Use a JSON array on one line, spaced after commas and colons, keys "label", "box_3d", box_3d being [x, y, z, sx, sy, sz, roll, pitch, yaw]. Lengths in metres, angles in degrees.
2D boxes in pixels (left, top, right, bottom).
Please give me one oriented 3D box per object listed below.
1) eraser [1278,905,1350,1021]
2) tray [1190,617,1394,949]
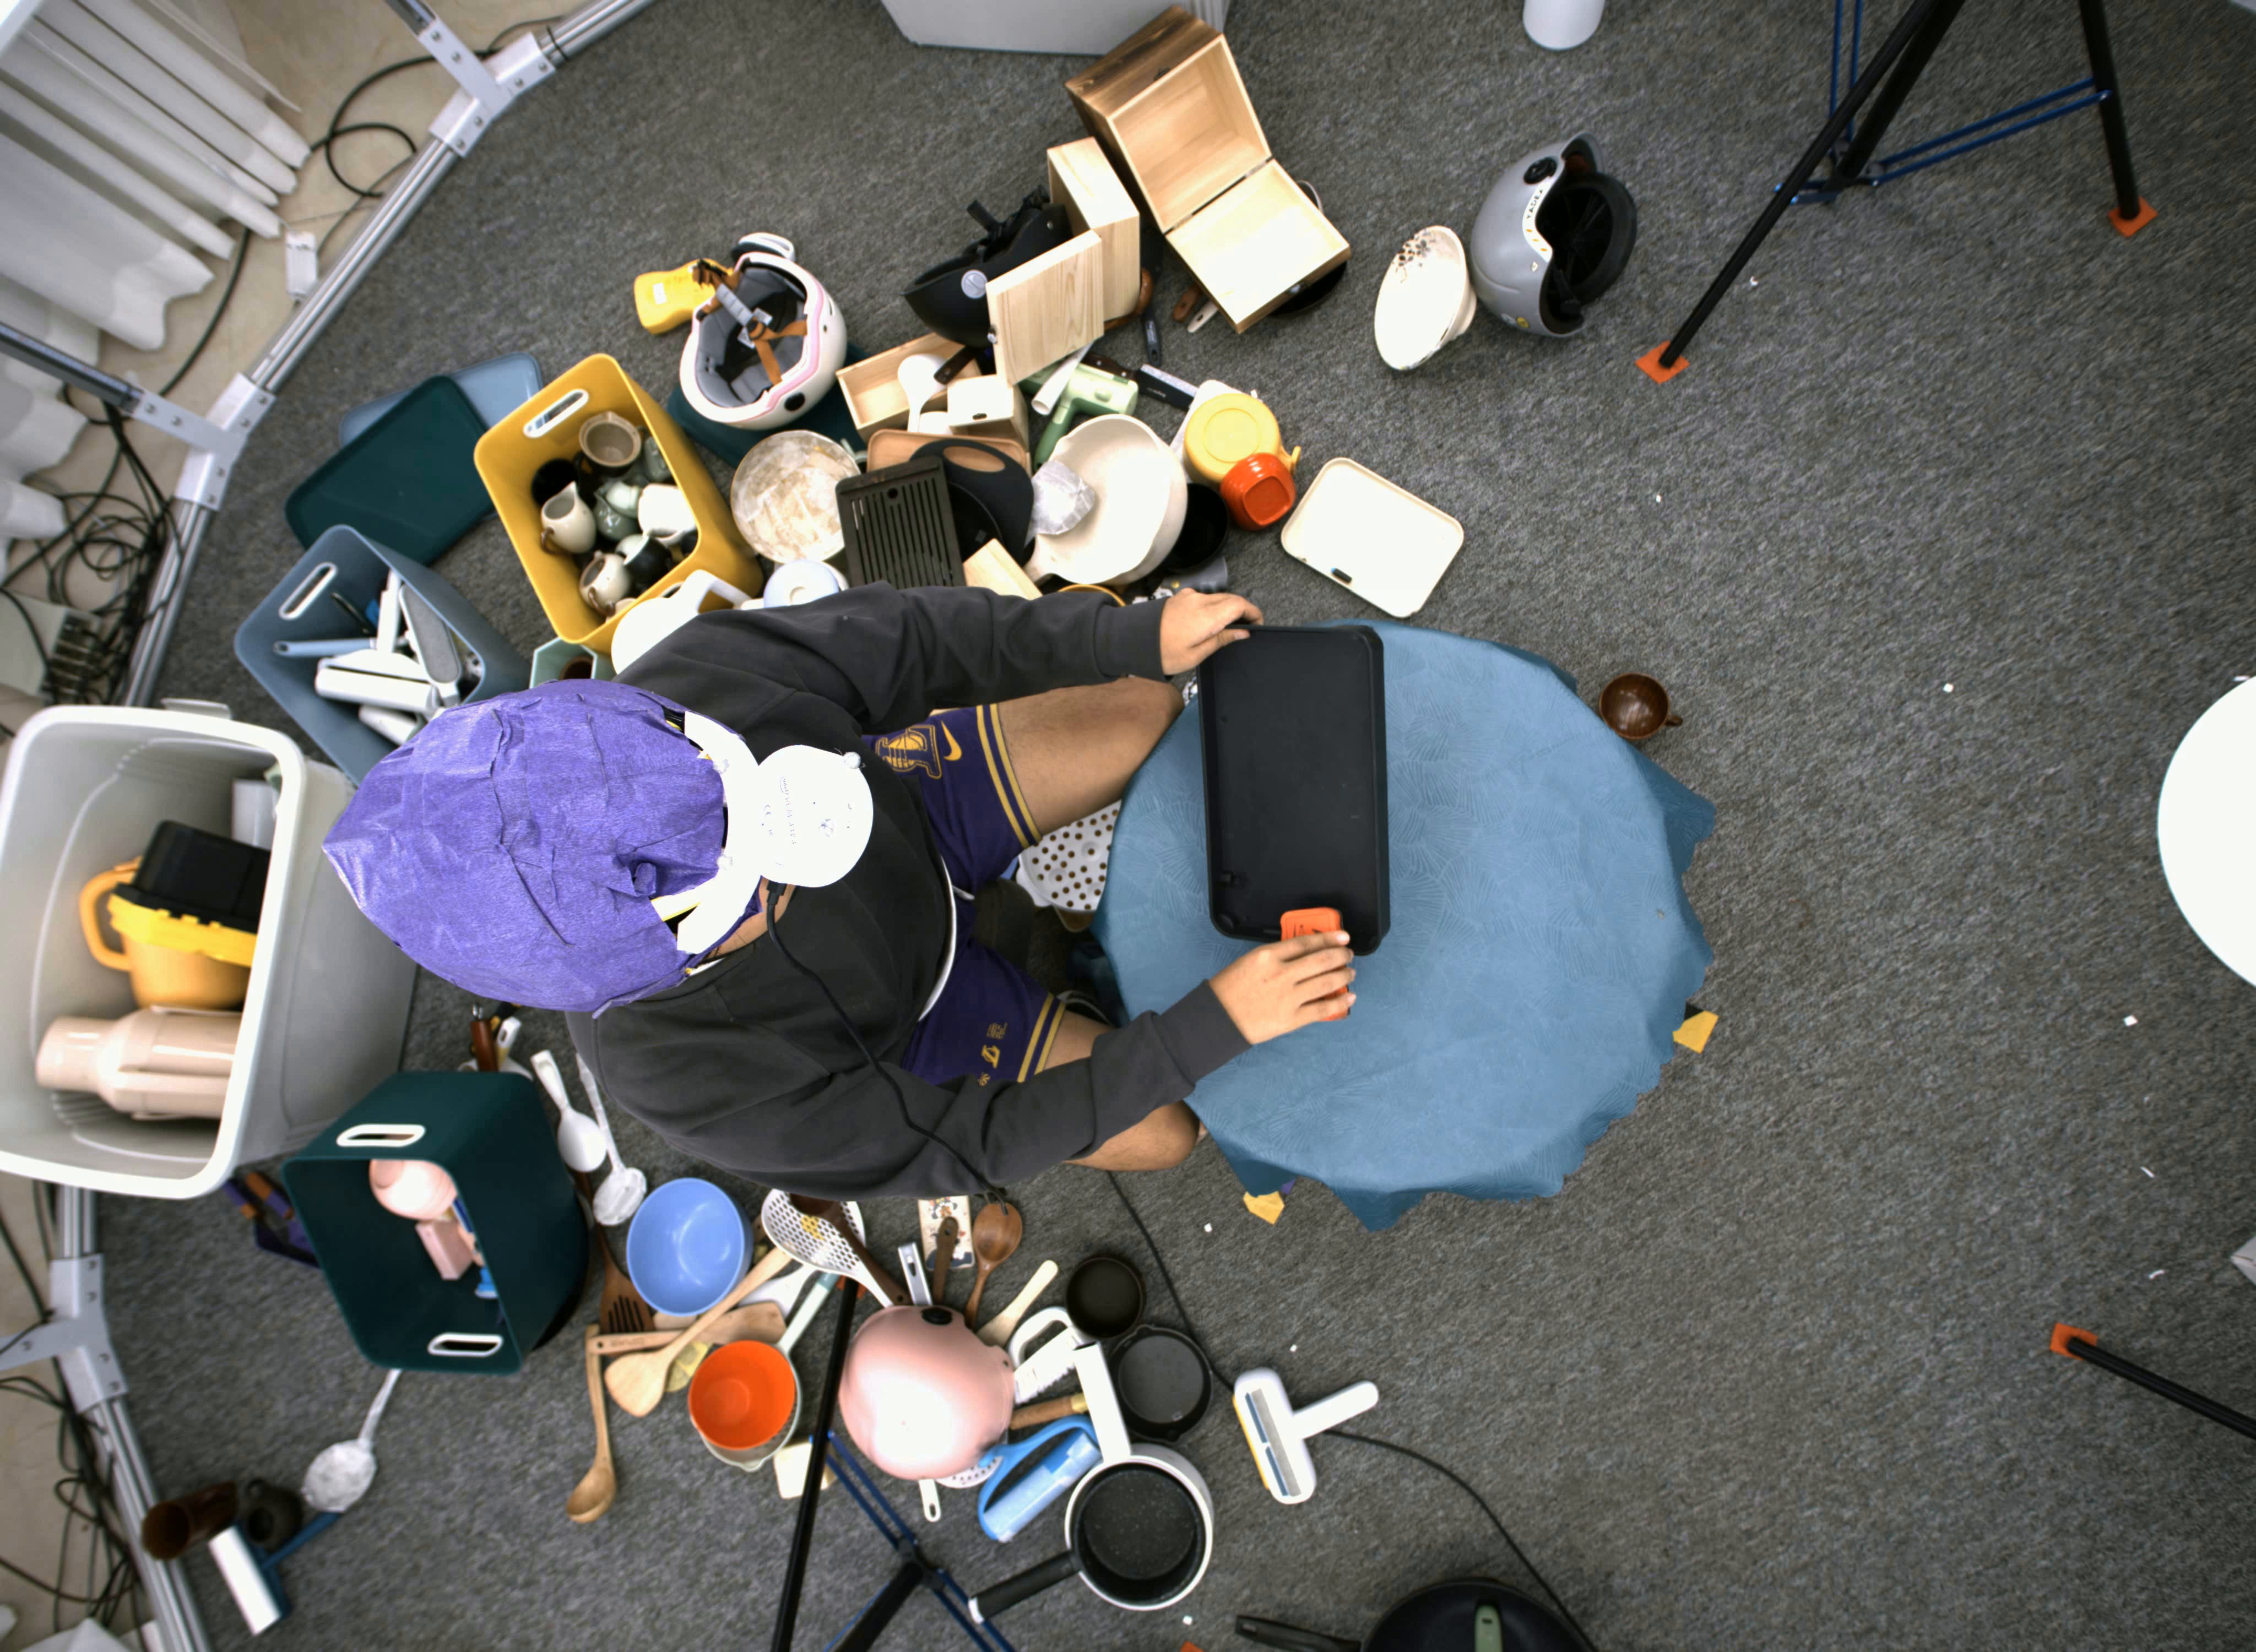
[{"label": "eraser", "box_3d": [0.179, 0.132, 1.335, 0.060, 0.023, 0.107, -11, 81, 36]}, {"label": "tray", "box_3d": [0.159, -0.043, 1.323, 0.185, 0.036, 0.322, 6, 113, 32]}]
